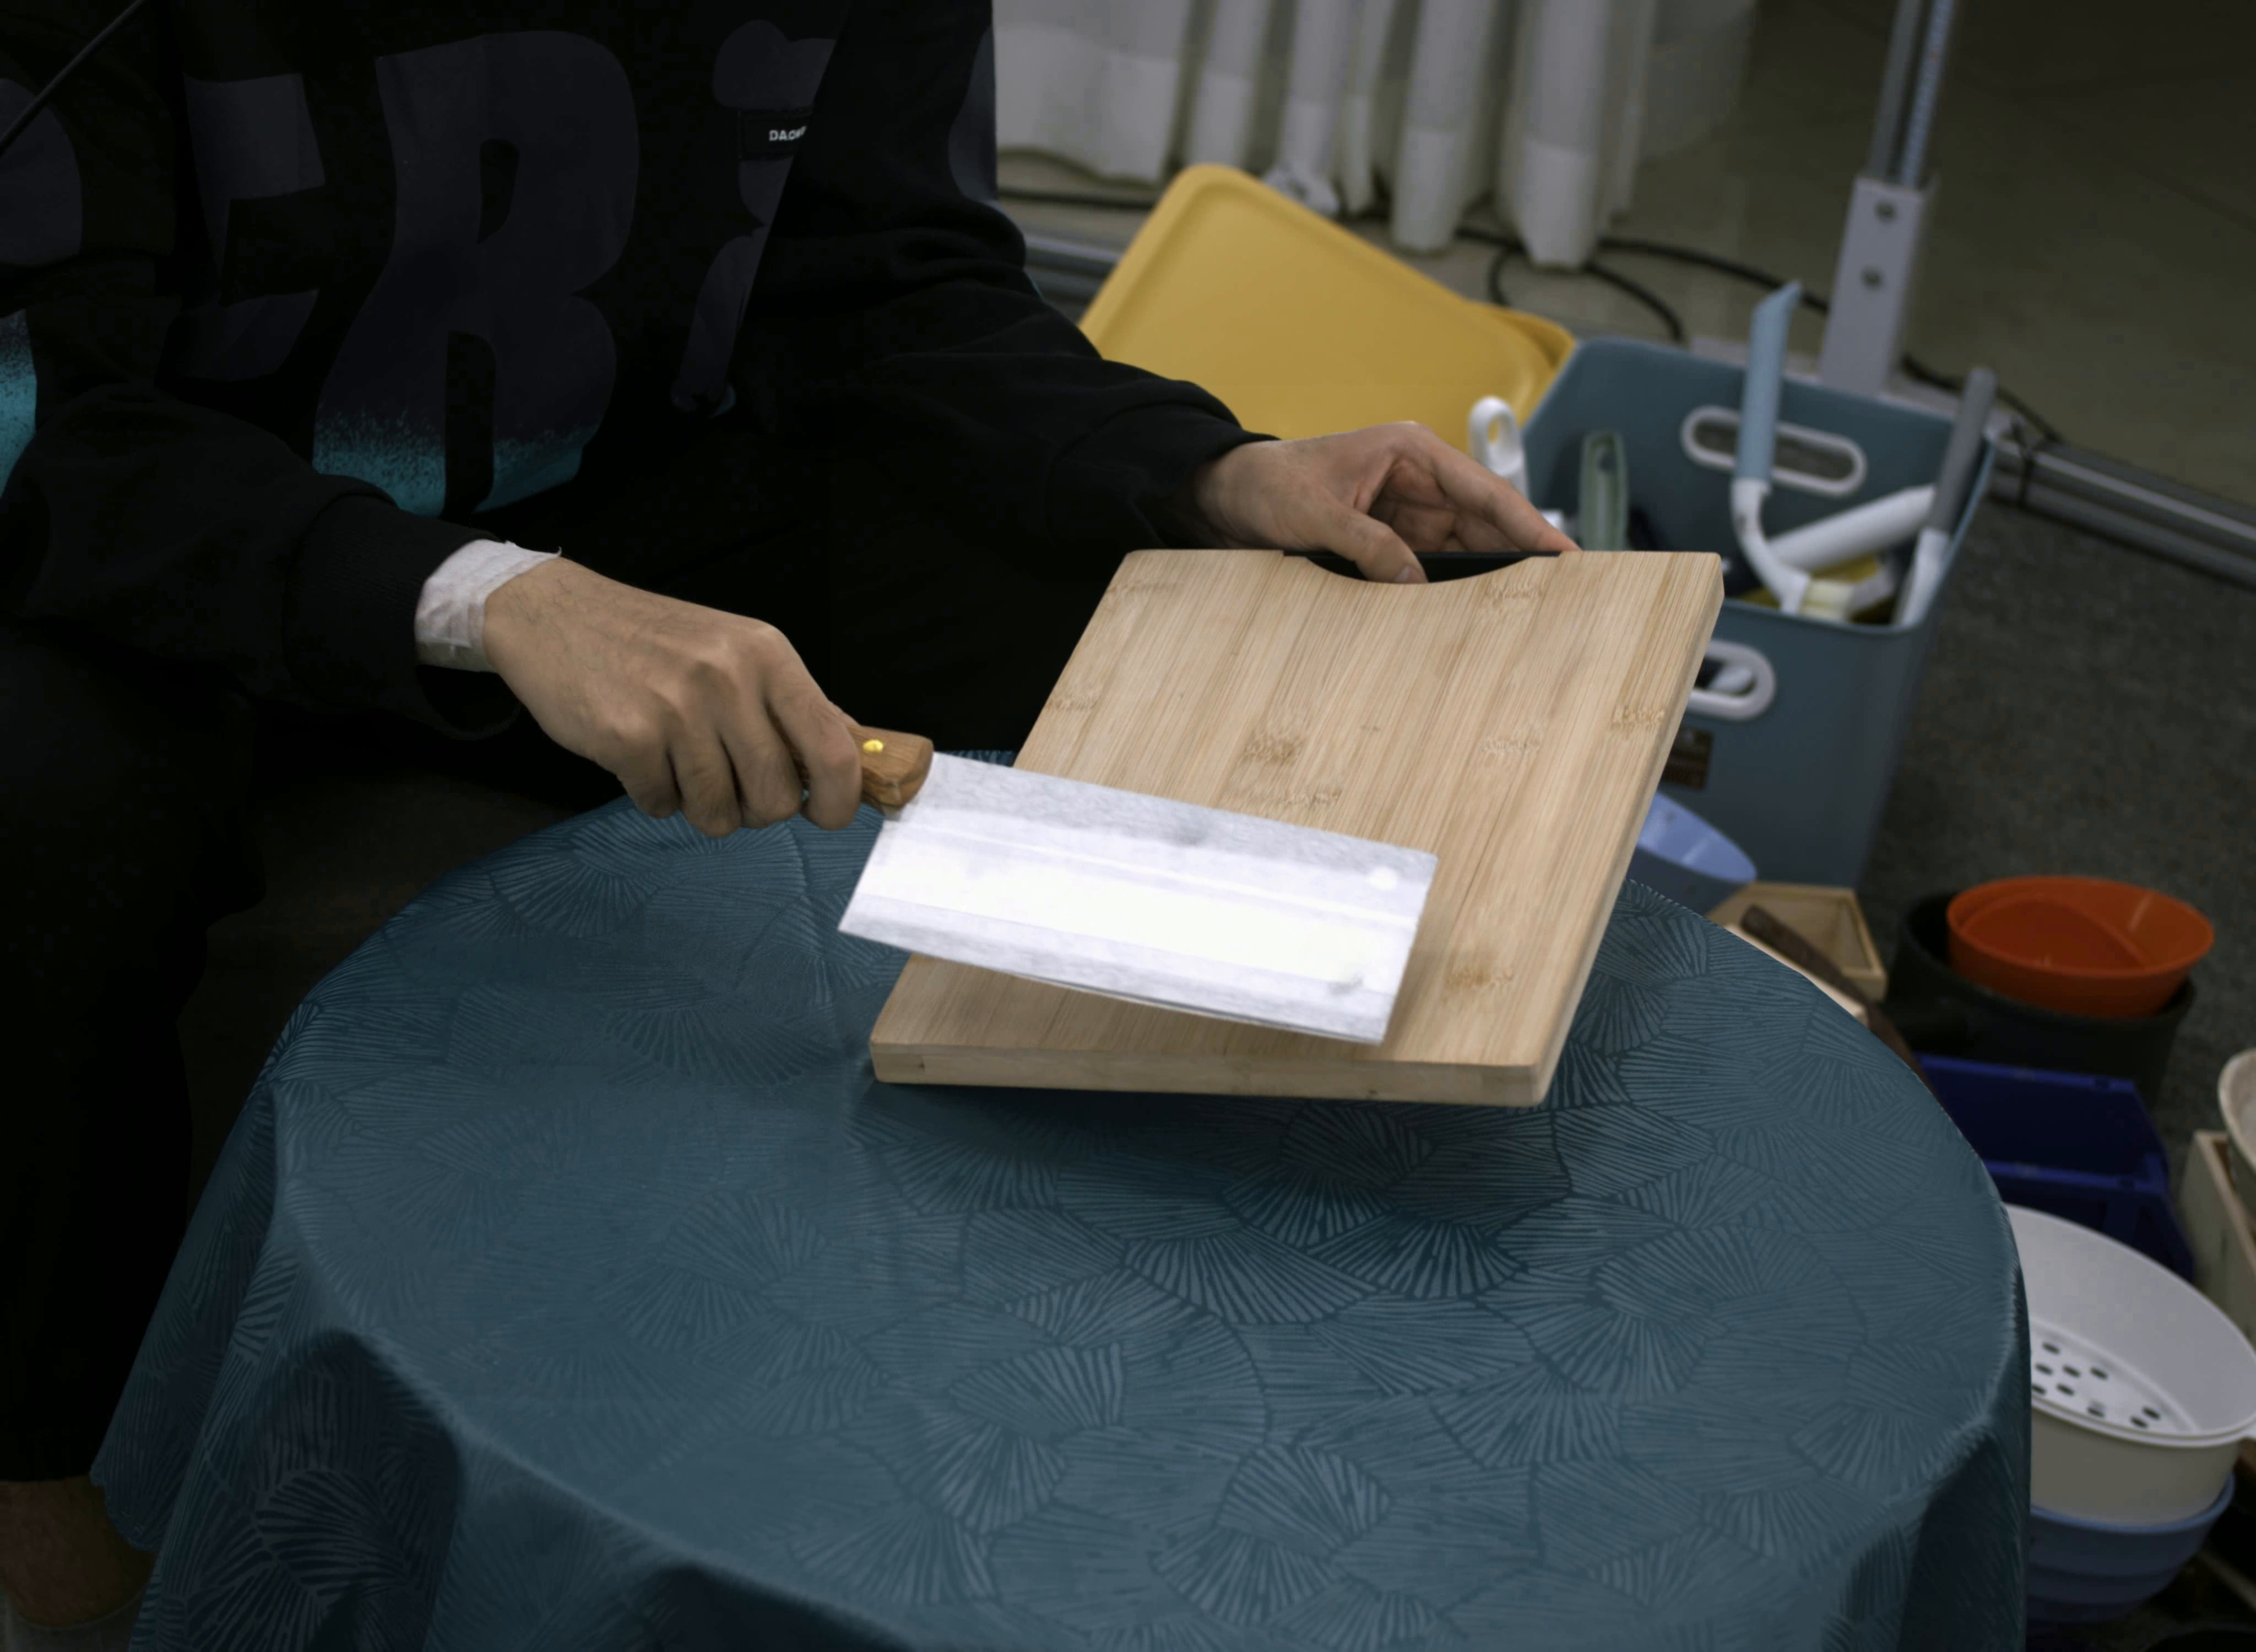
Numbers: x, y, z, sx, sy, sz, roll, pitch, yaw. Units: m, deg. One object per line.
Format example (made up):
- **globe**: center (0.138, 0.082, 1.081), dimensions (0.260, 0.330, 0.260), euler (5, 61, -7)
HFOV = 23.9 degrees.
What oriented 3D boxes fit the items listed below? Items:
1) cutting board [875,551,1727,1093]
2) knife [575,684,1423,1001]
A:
- **cutting board**: center (0.071, -0.008, 1.945), dimensions (0.251, 0.023, 0.350), euler (0, 32, 16)
- **knife**: center (-0.052, 0.009, 1.820), dimensions (0.306, 0.021, 0.093), euler (11, 48, 11)
